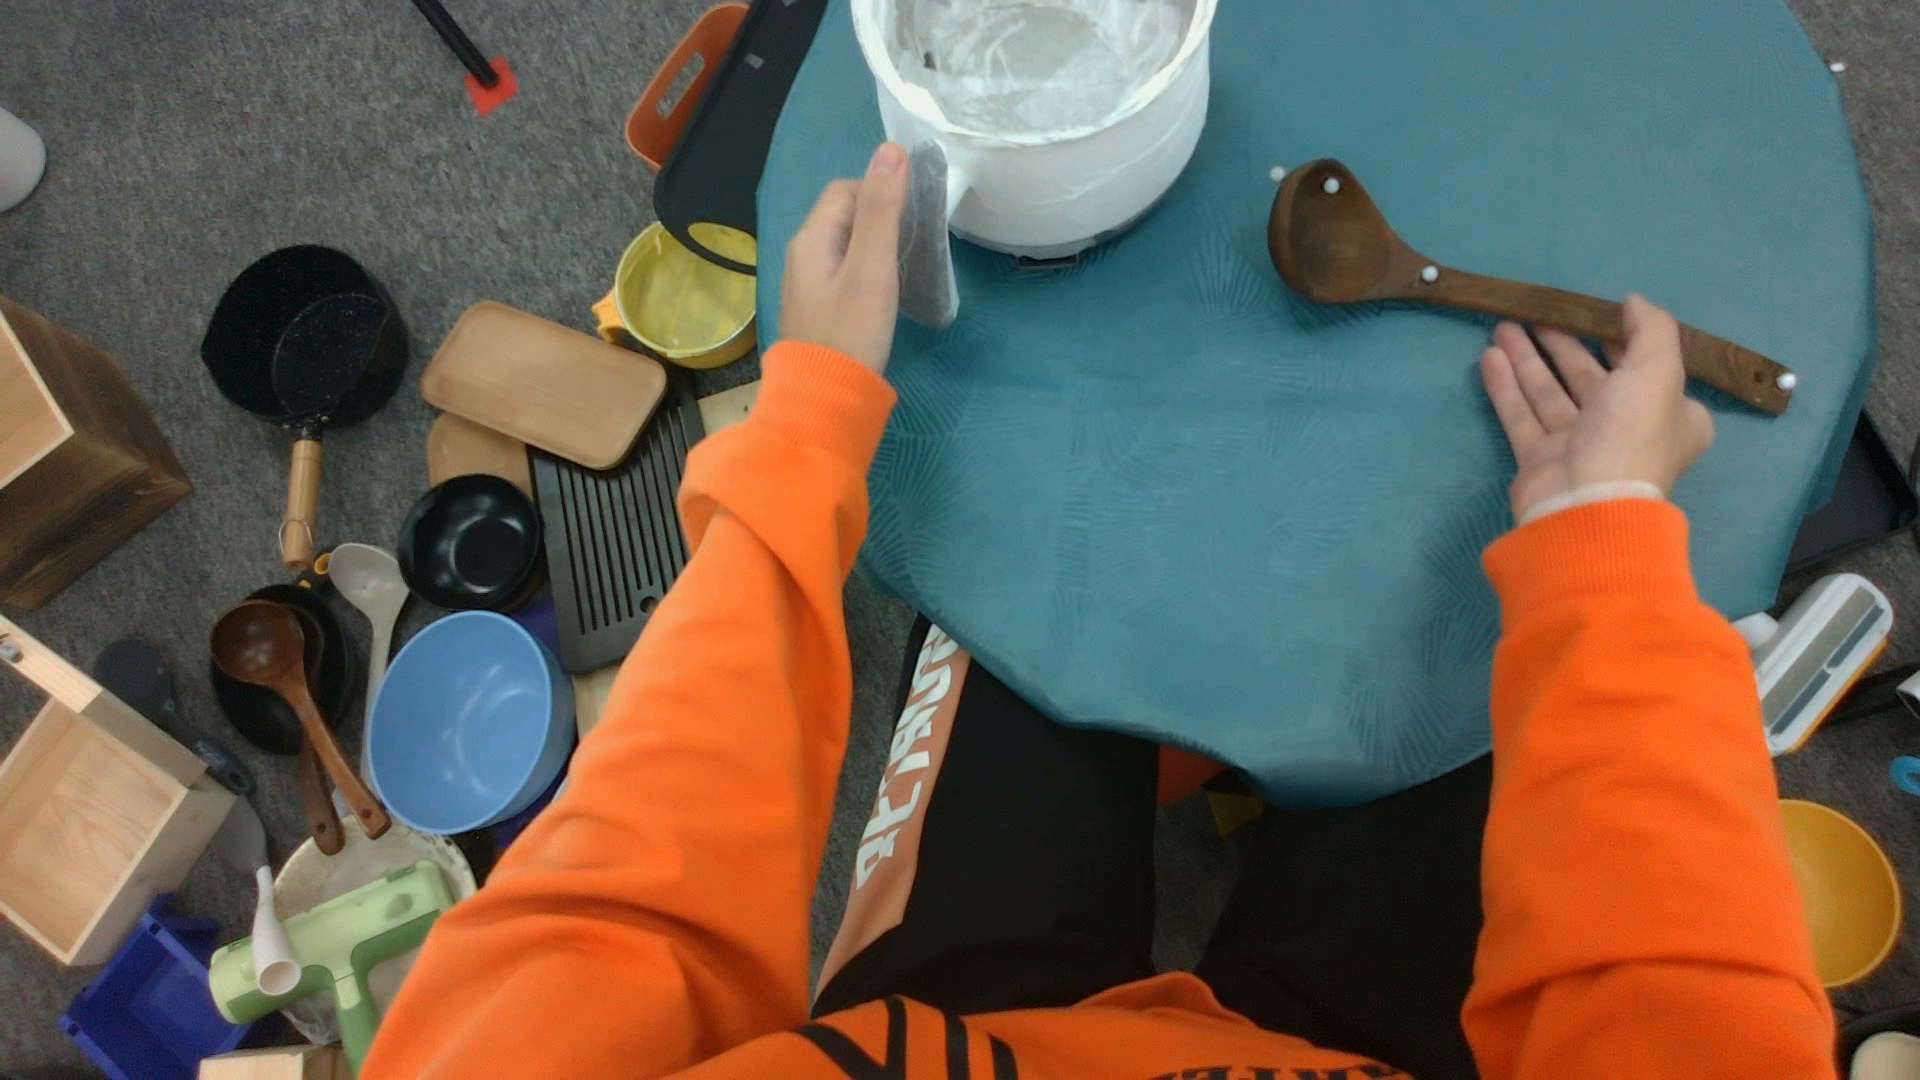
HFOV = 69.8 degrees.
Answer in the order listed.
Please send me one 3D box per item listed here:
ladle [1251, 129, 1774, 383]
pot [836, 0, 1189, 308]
[{"bbox_3d":[0.282,-0.140,0.697,0.274,0.071,0.076,19,80,12],"label":"ladle"},{"bbox_3d":[0.020,-0.238,0.718,0.178,0.136,0.234,25,79,13],"label":"pot"}]
